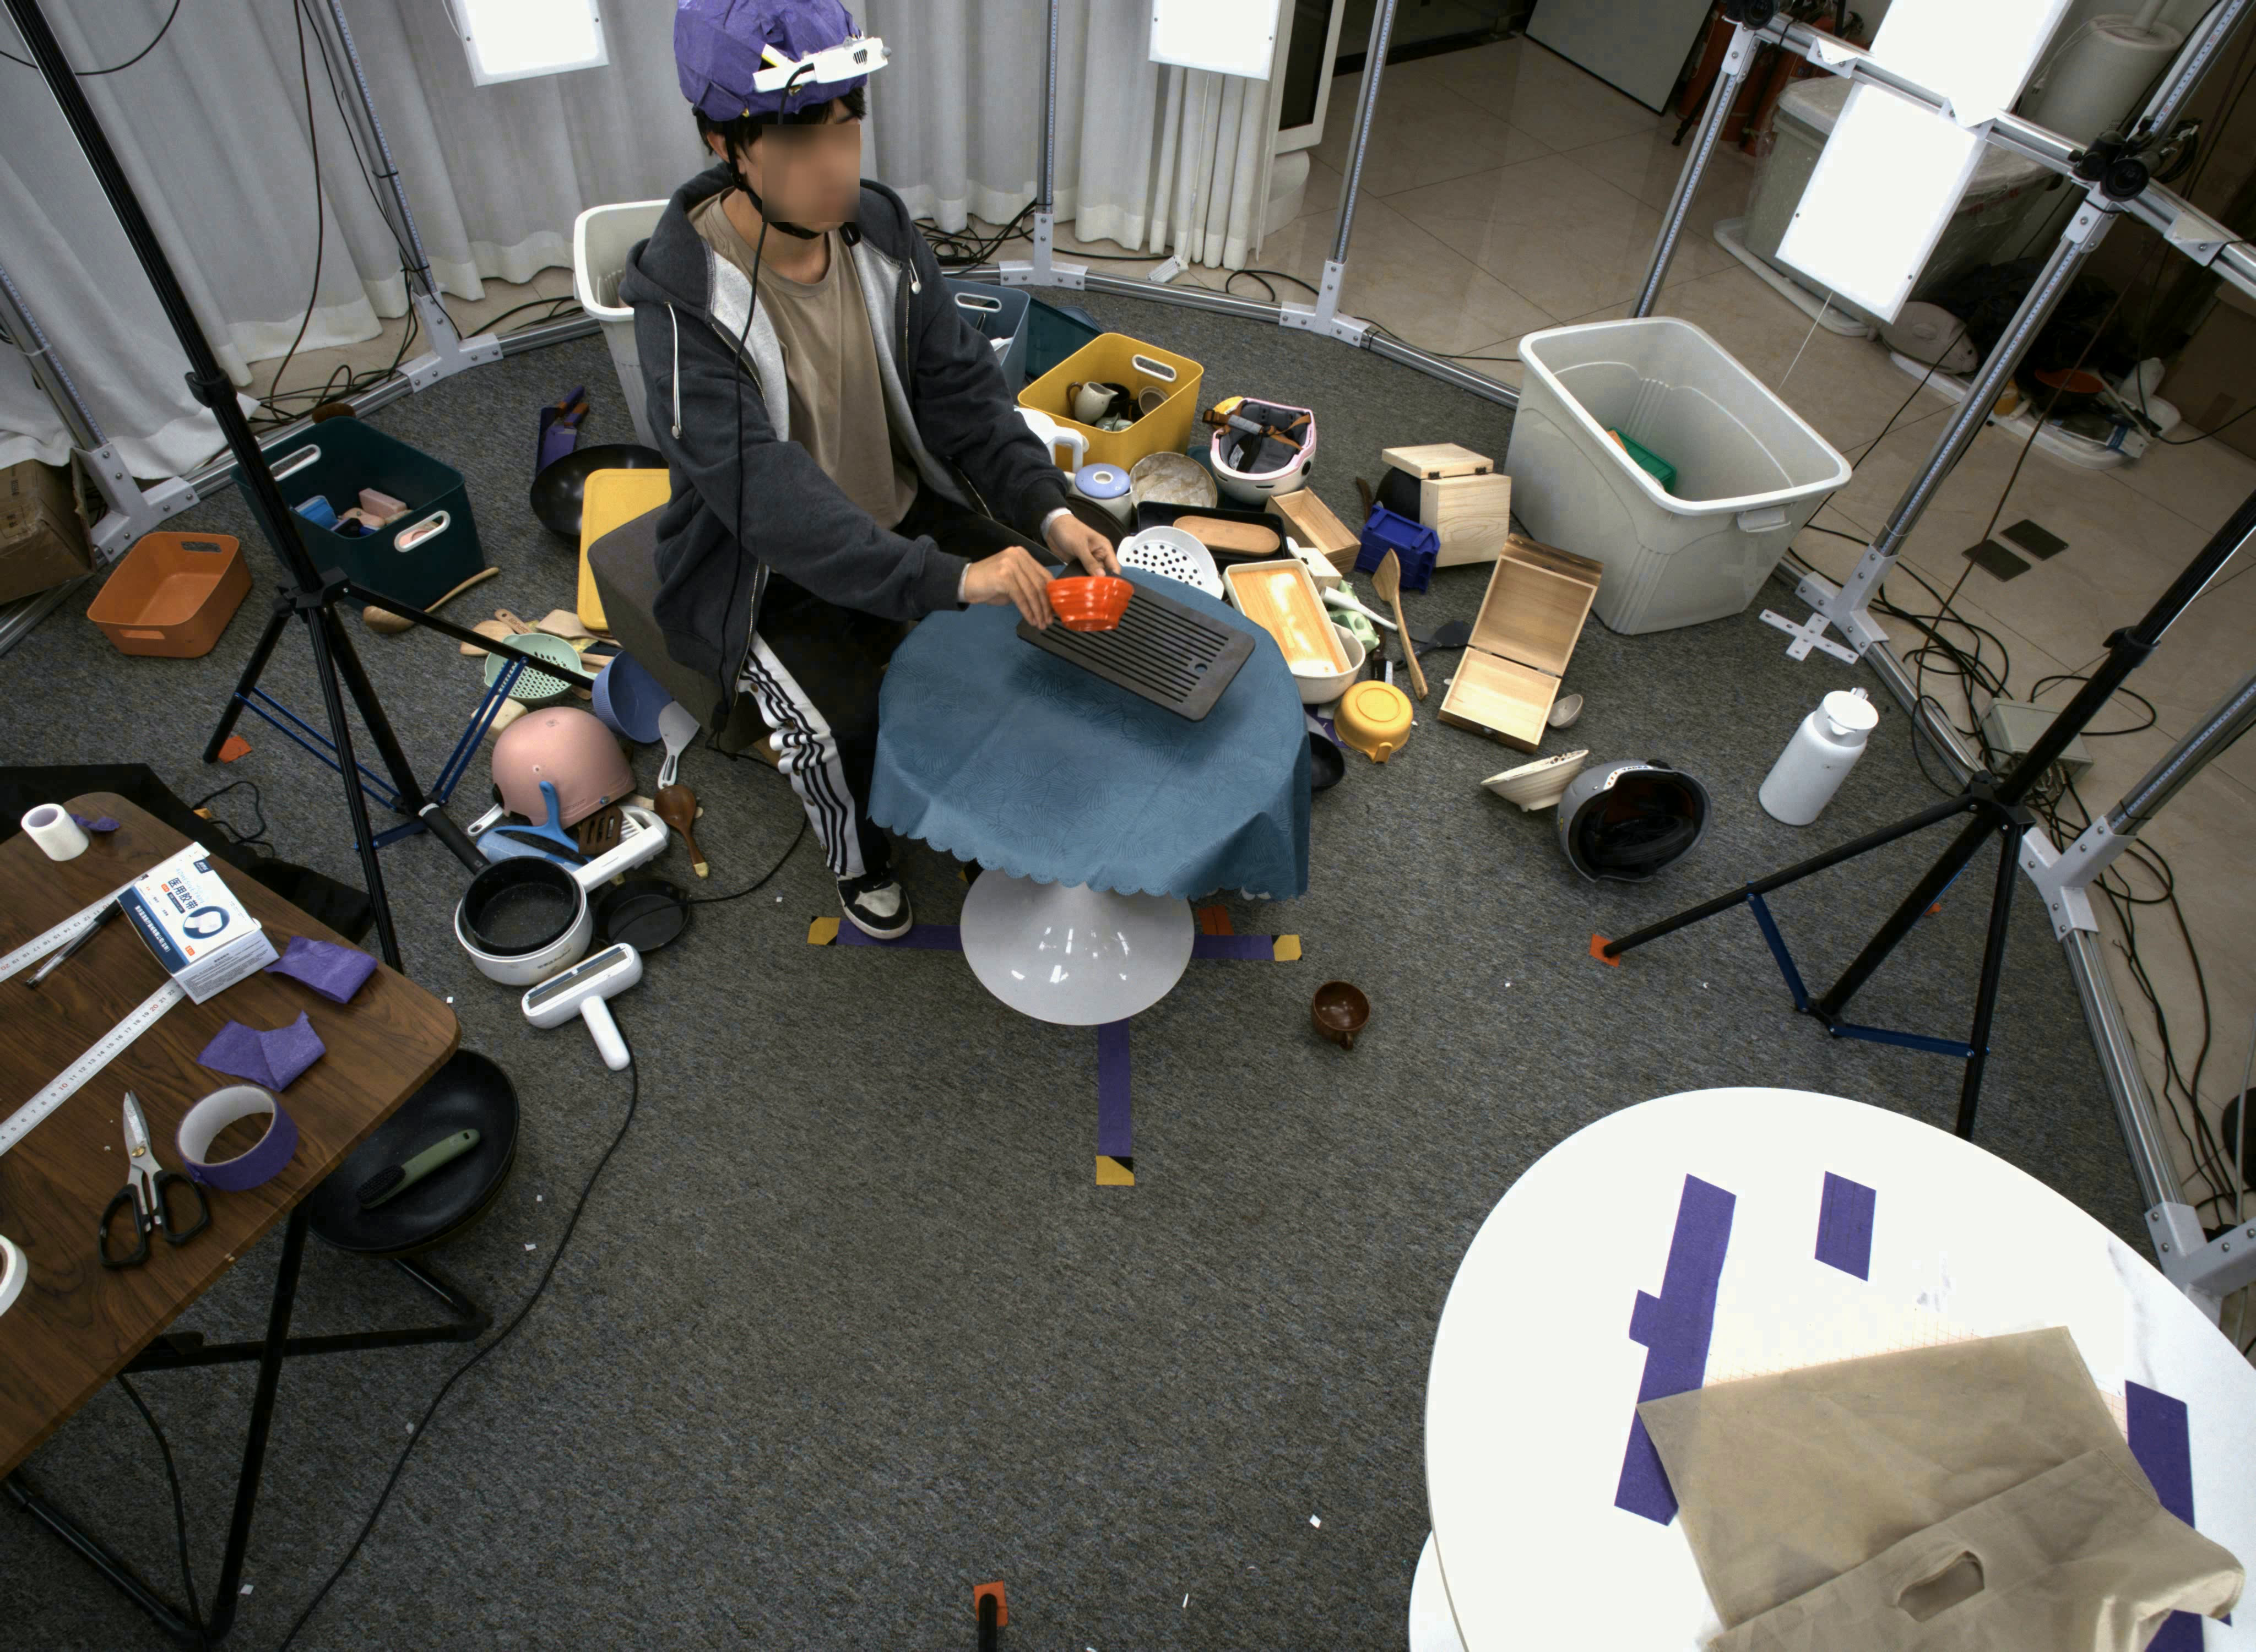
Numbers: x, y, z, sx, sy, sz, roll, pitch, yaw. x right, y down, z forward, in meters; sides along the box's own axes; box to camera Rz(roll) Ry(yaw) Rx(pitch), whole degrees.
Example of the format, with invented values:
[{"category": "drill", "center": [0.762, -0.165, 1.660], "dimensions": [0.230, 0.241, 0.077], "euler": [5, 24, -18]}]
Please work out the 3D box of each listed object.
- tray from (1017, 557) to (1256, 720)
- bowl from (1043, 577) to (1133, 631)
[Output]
[{"category": "tray", "center": [0.012, -0.266, 1.815], "dimensions": [0.308, 0.018, 0.172], "euler": [27, 61, 17]}, {"category": "bowl", "center": [-0.051, -0.281, 1.642], "dimensions": [0.119, 0.118, 0.051], "euler": [1, 88, -4]}]
